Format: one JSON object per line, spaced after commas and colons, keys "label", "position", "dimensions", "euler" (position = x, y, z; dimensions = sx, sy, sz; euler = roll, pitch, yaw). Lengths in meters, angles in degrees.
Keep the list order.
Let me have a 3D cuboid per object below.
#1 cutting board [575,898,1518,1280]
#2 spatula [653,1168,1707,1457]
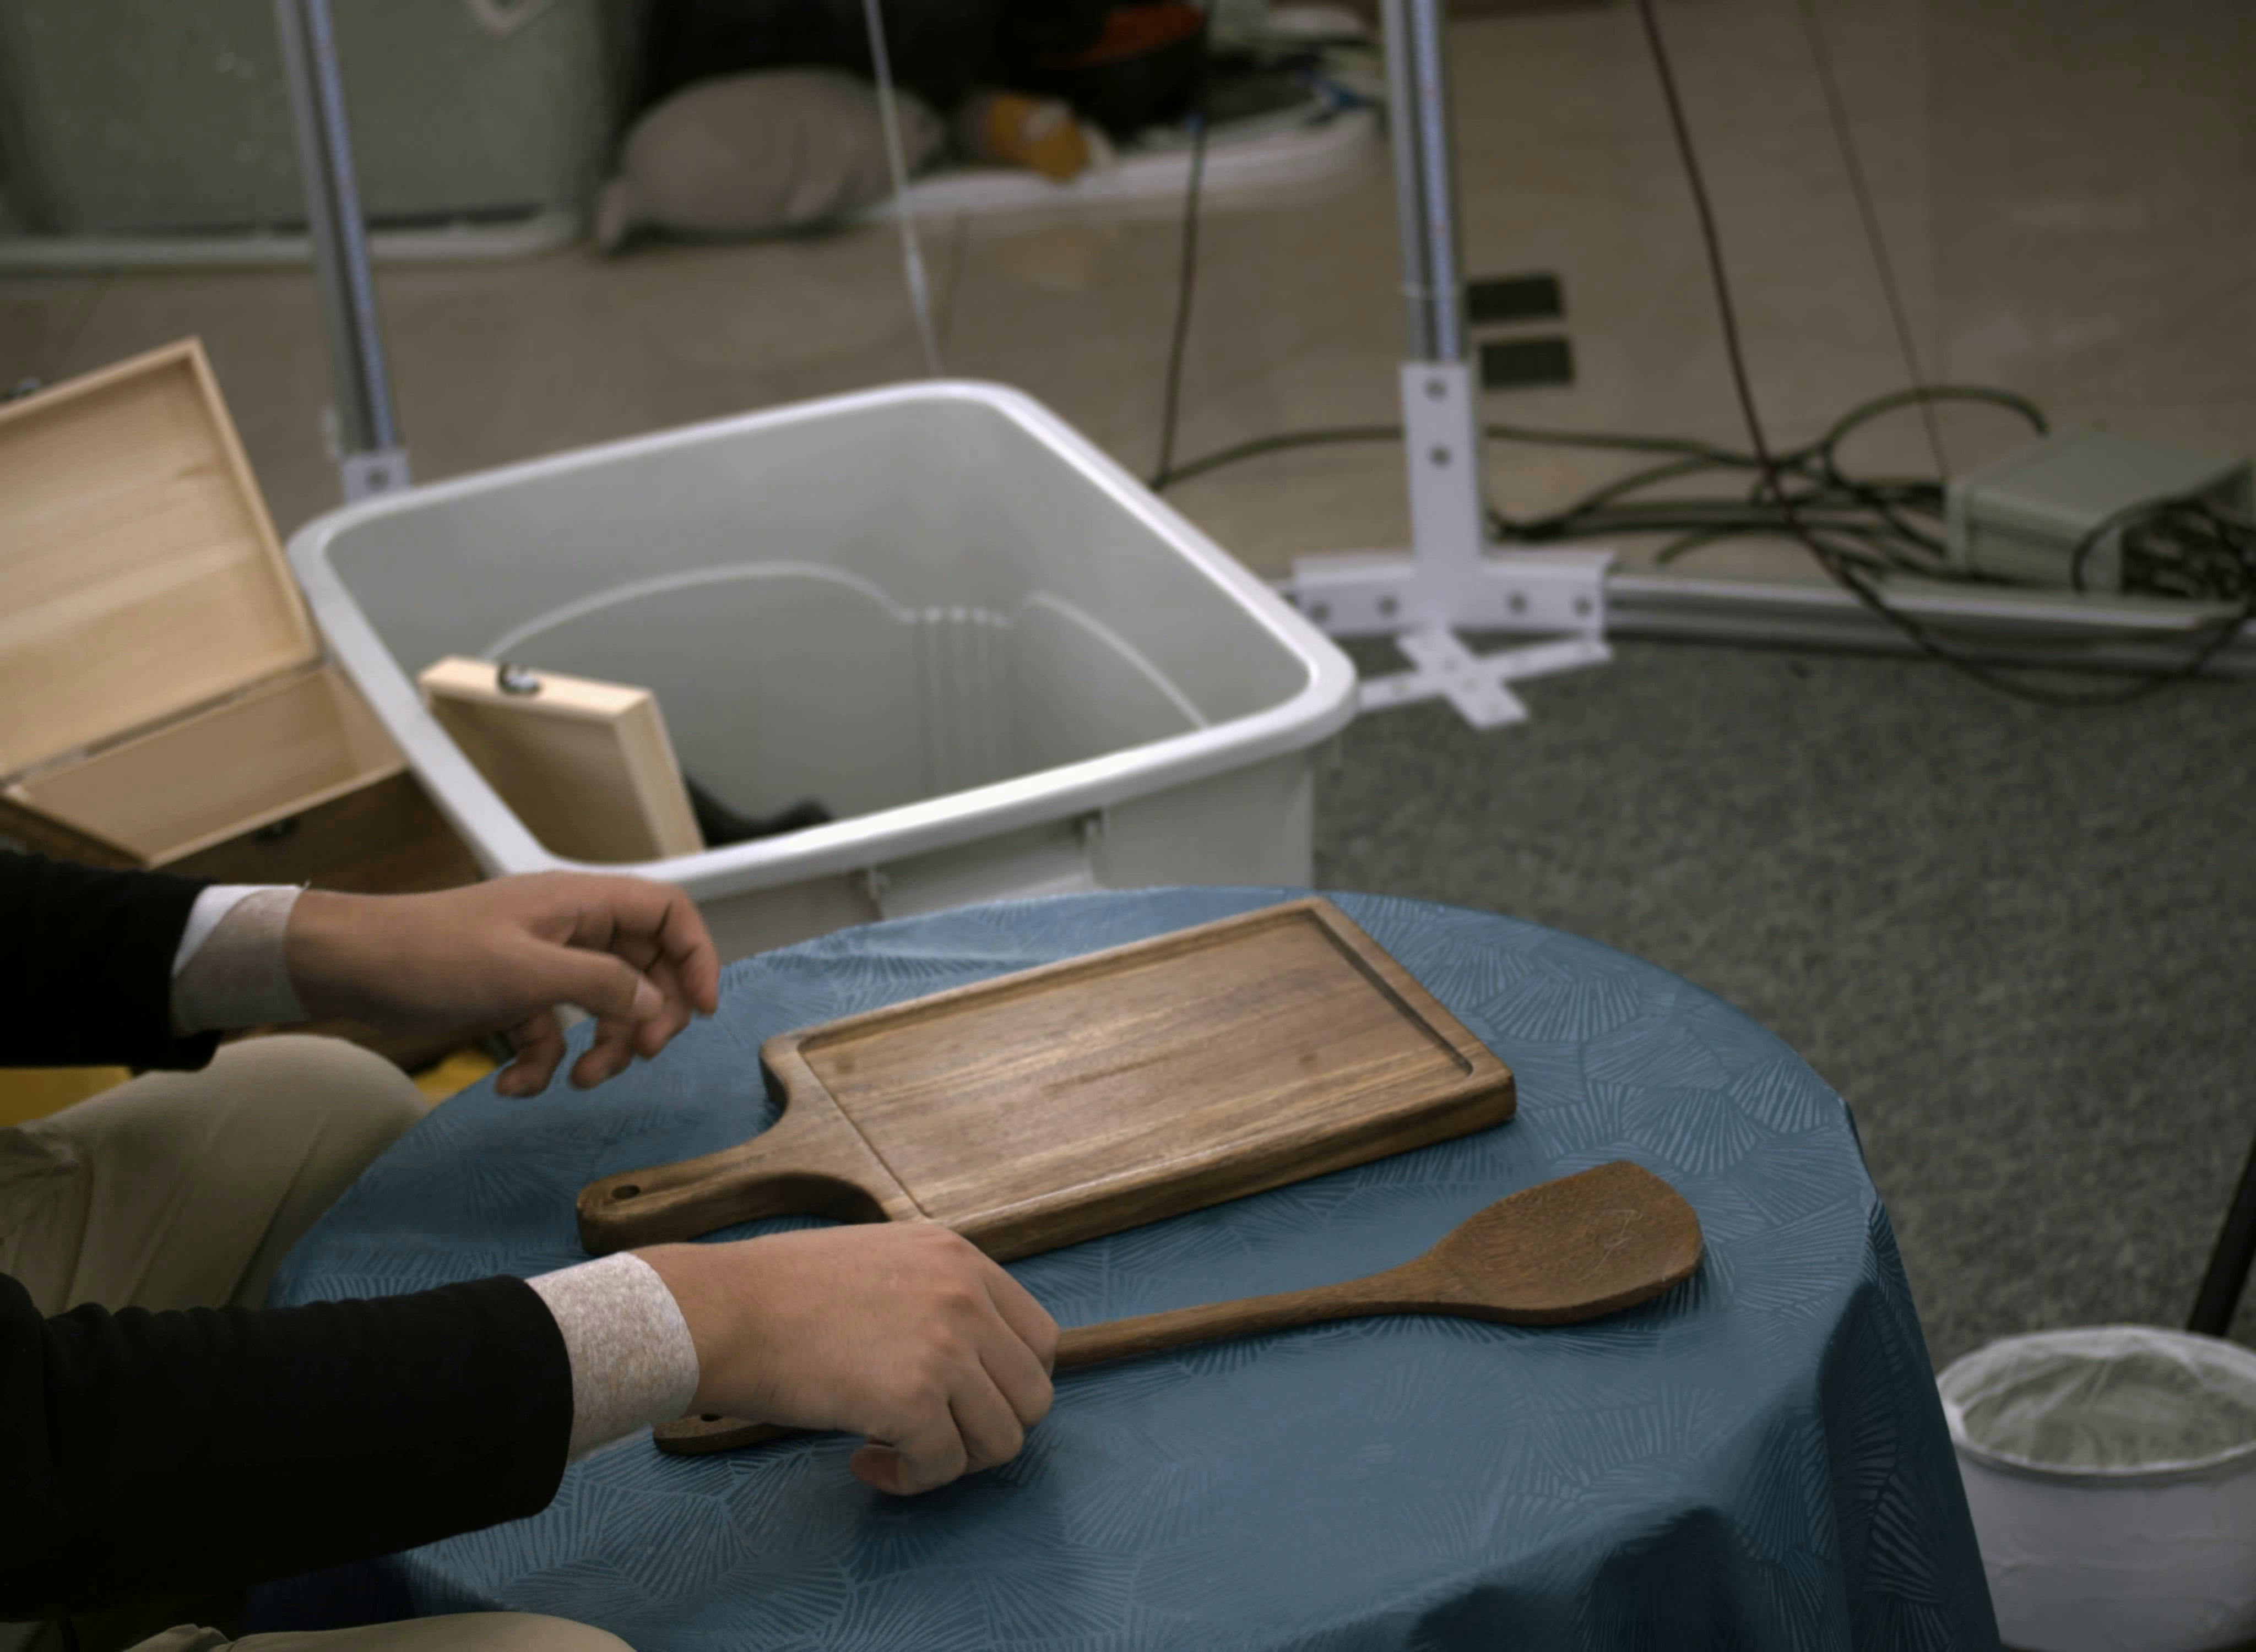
{"label": "cutting board", "position": [-0.046, 0.110, 2.196], "dimensions": [0.351, 0.023, 0.198], "euler": [-15, 26, -17]}
{"label": "spatula", "position": [0.019, 0.180, 2.037], "dimensions": [0.385, 0.016, 0.095], "euler": [-11, 25, -8]}
